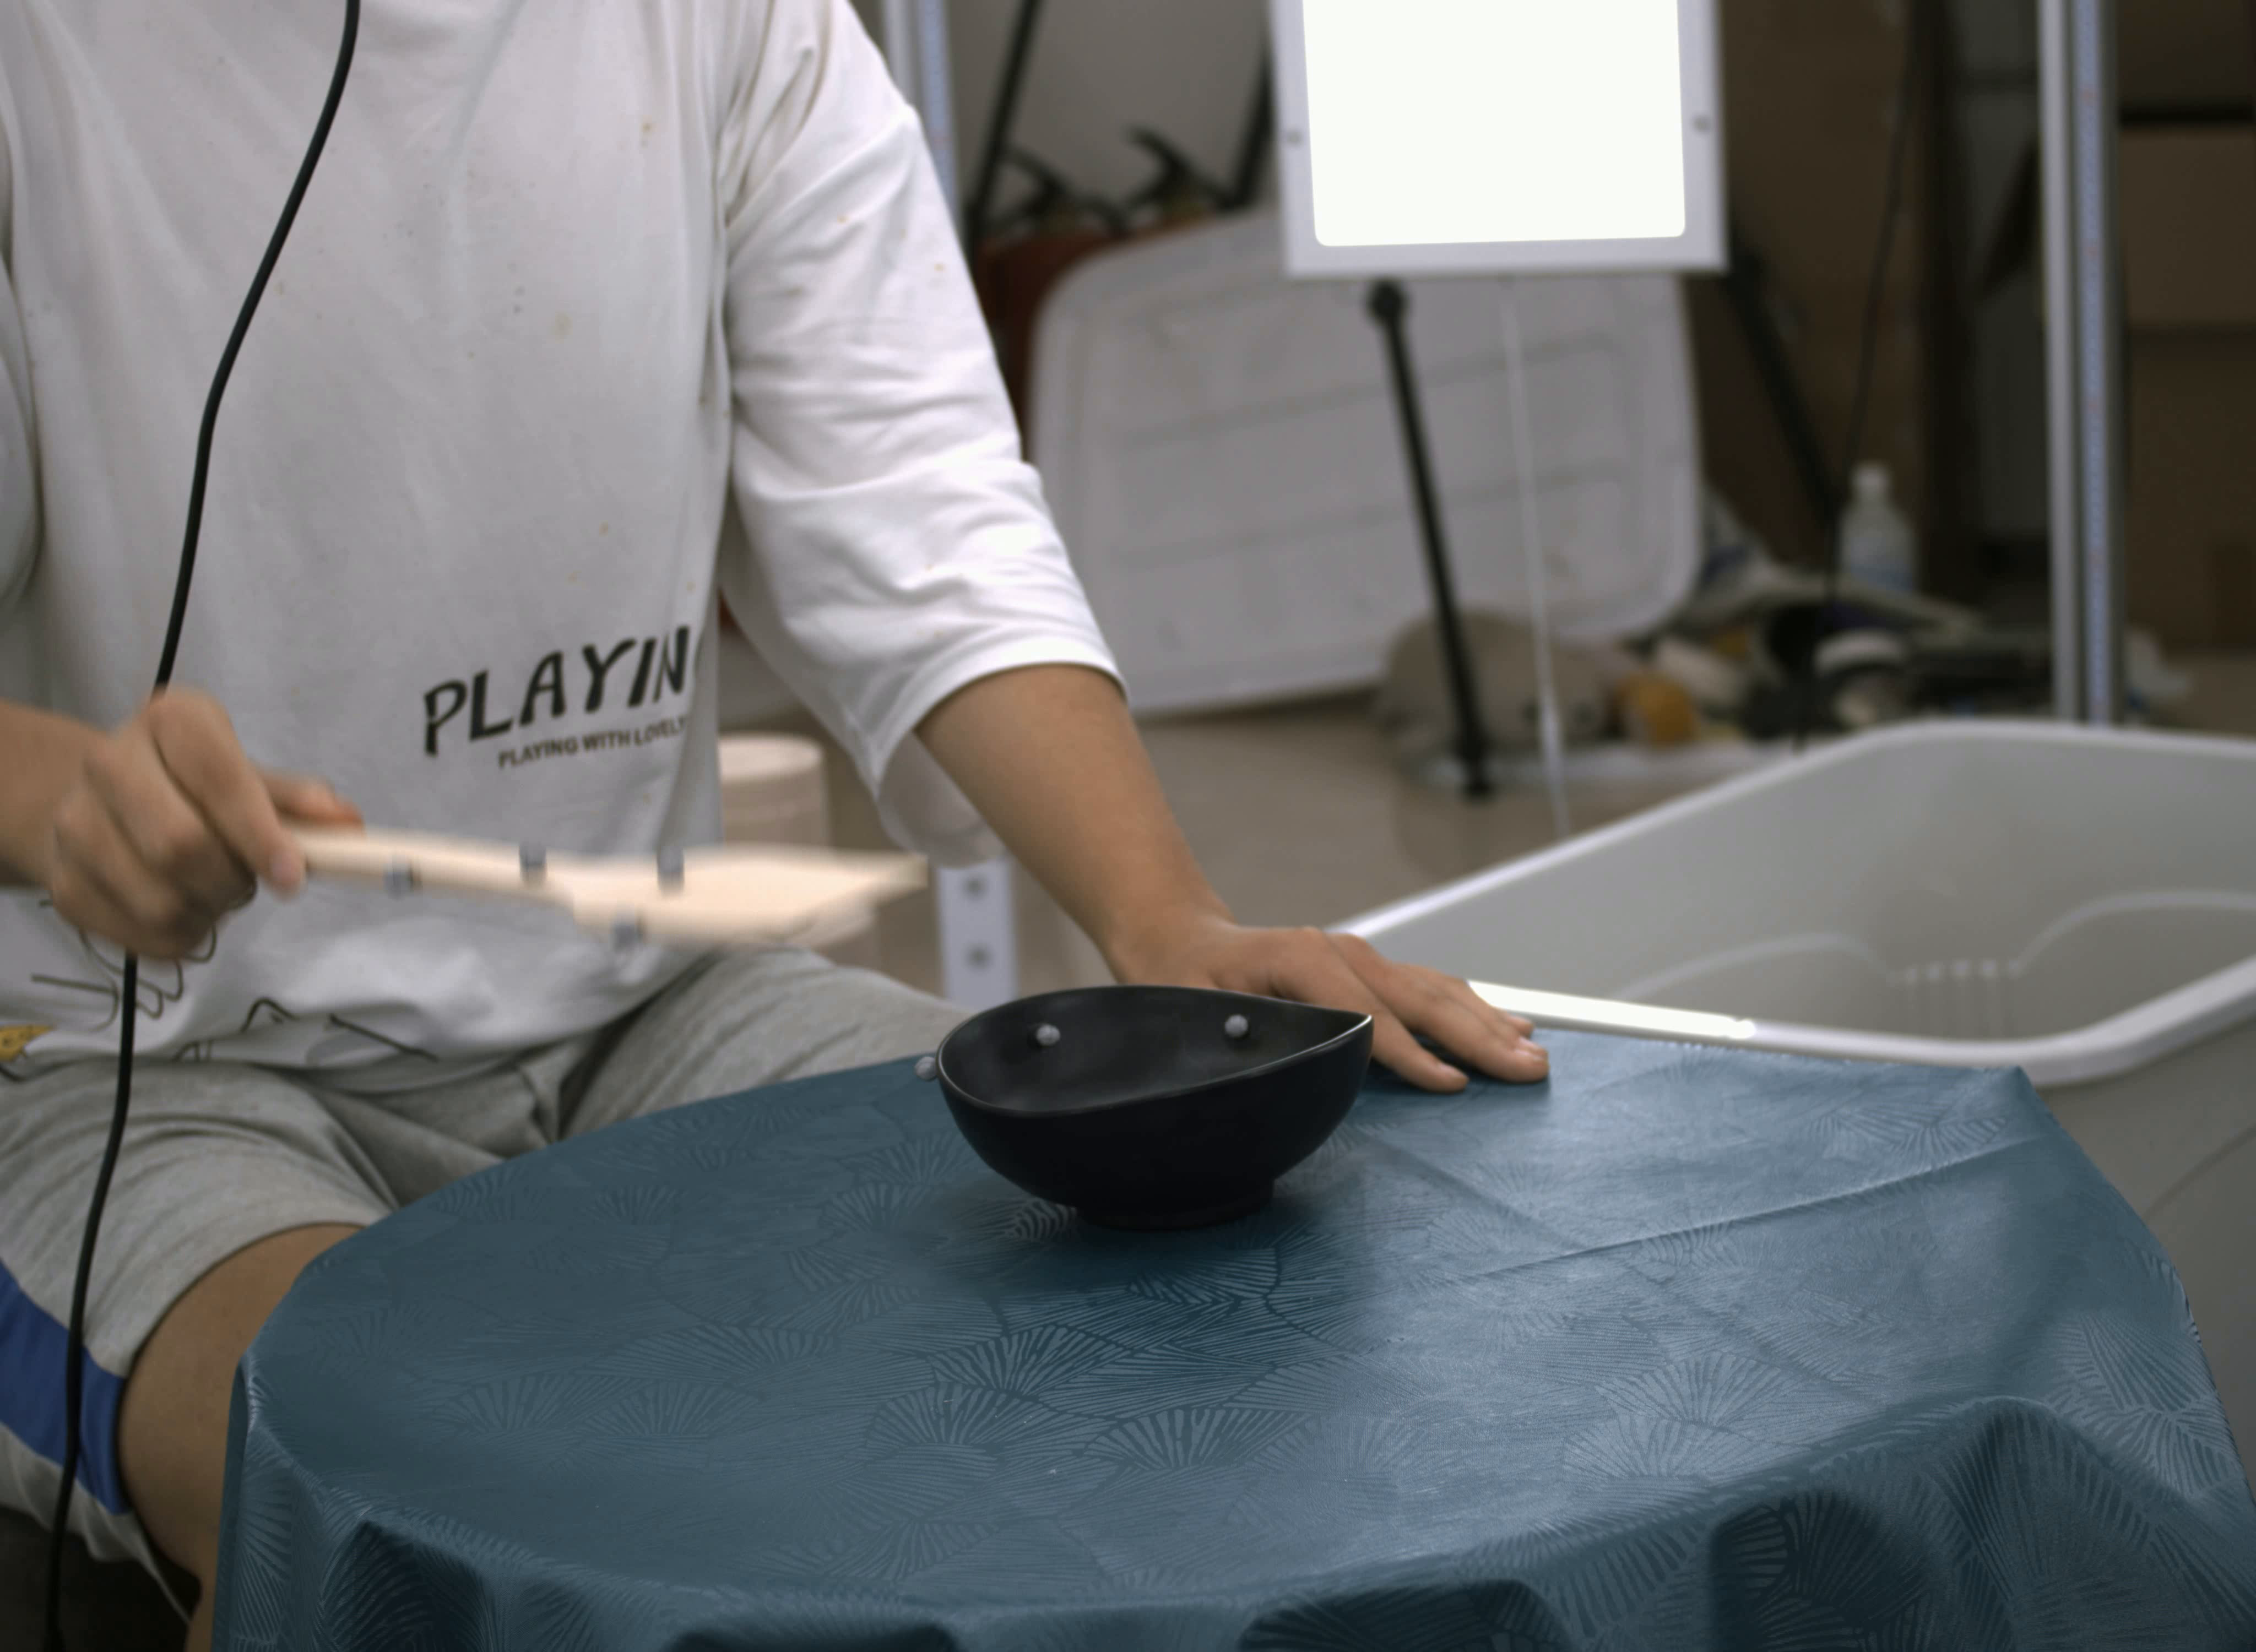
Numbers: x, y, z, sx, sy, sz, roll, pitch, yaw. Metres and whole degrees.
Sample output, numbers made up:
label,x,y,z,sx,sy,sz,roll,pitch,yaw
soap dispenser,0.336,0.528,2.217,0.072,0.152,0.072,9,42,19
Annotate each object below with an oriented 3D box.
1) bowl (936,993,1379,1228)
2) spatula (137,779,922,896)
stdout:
label,x,y,z,sx,sy,sz,roll,pitch,yaw
bowl,0.013,0.098,1.878,0.140,0.067,0.166,6,15,40
spatula,-0.196,0.001,1.692,0.299,0.011,0.070,4,18,37
